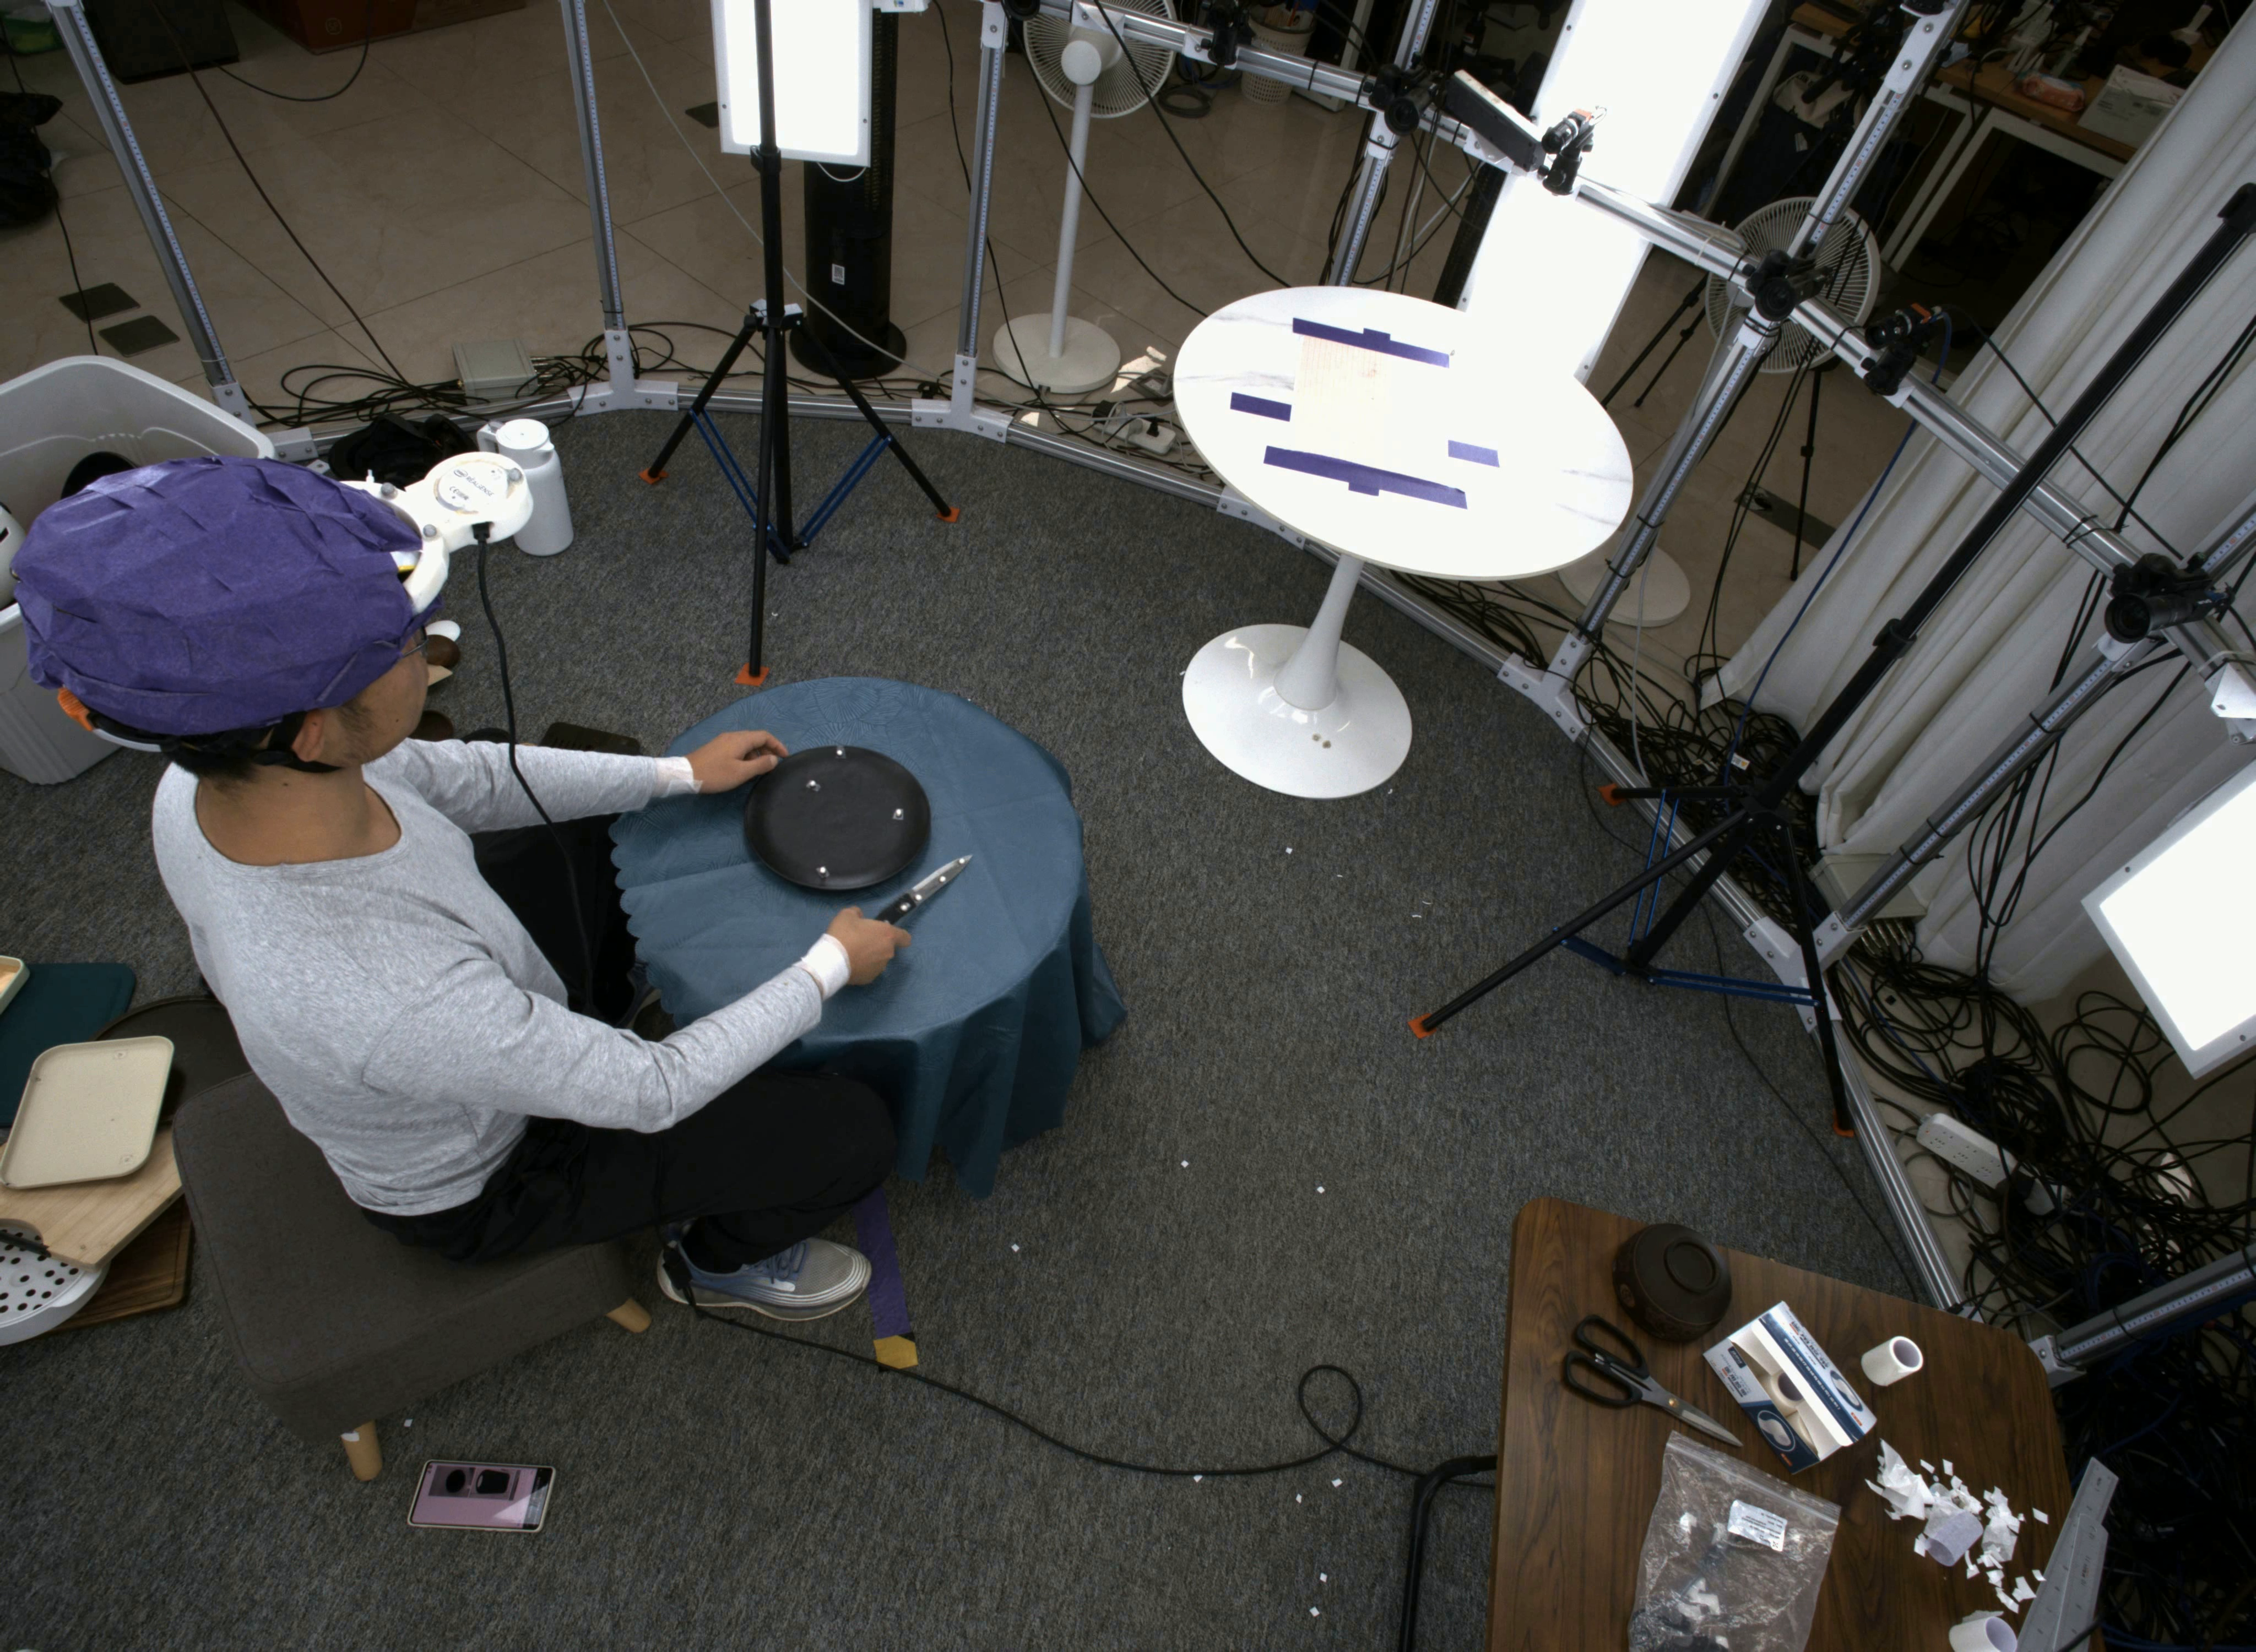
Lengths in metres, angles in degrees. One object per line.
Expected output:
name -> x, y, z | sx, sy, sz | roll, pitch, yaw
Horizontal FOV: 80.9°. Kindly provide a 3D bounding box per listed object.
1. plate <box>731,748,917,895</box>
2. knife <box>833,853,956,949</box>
plate -> -0.404, -0.006, 1.730 | 0.244, 0.024, 0.240 | 8, 53, -9
knife -> -0.292, 0.091, 1.670 | 0.024, 0.016, 0.238 | 51, 43, -2
